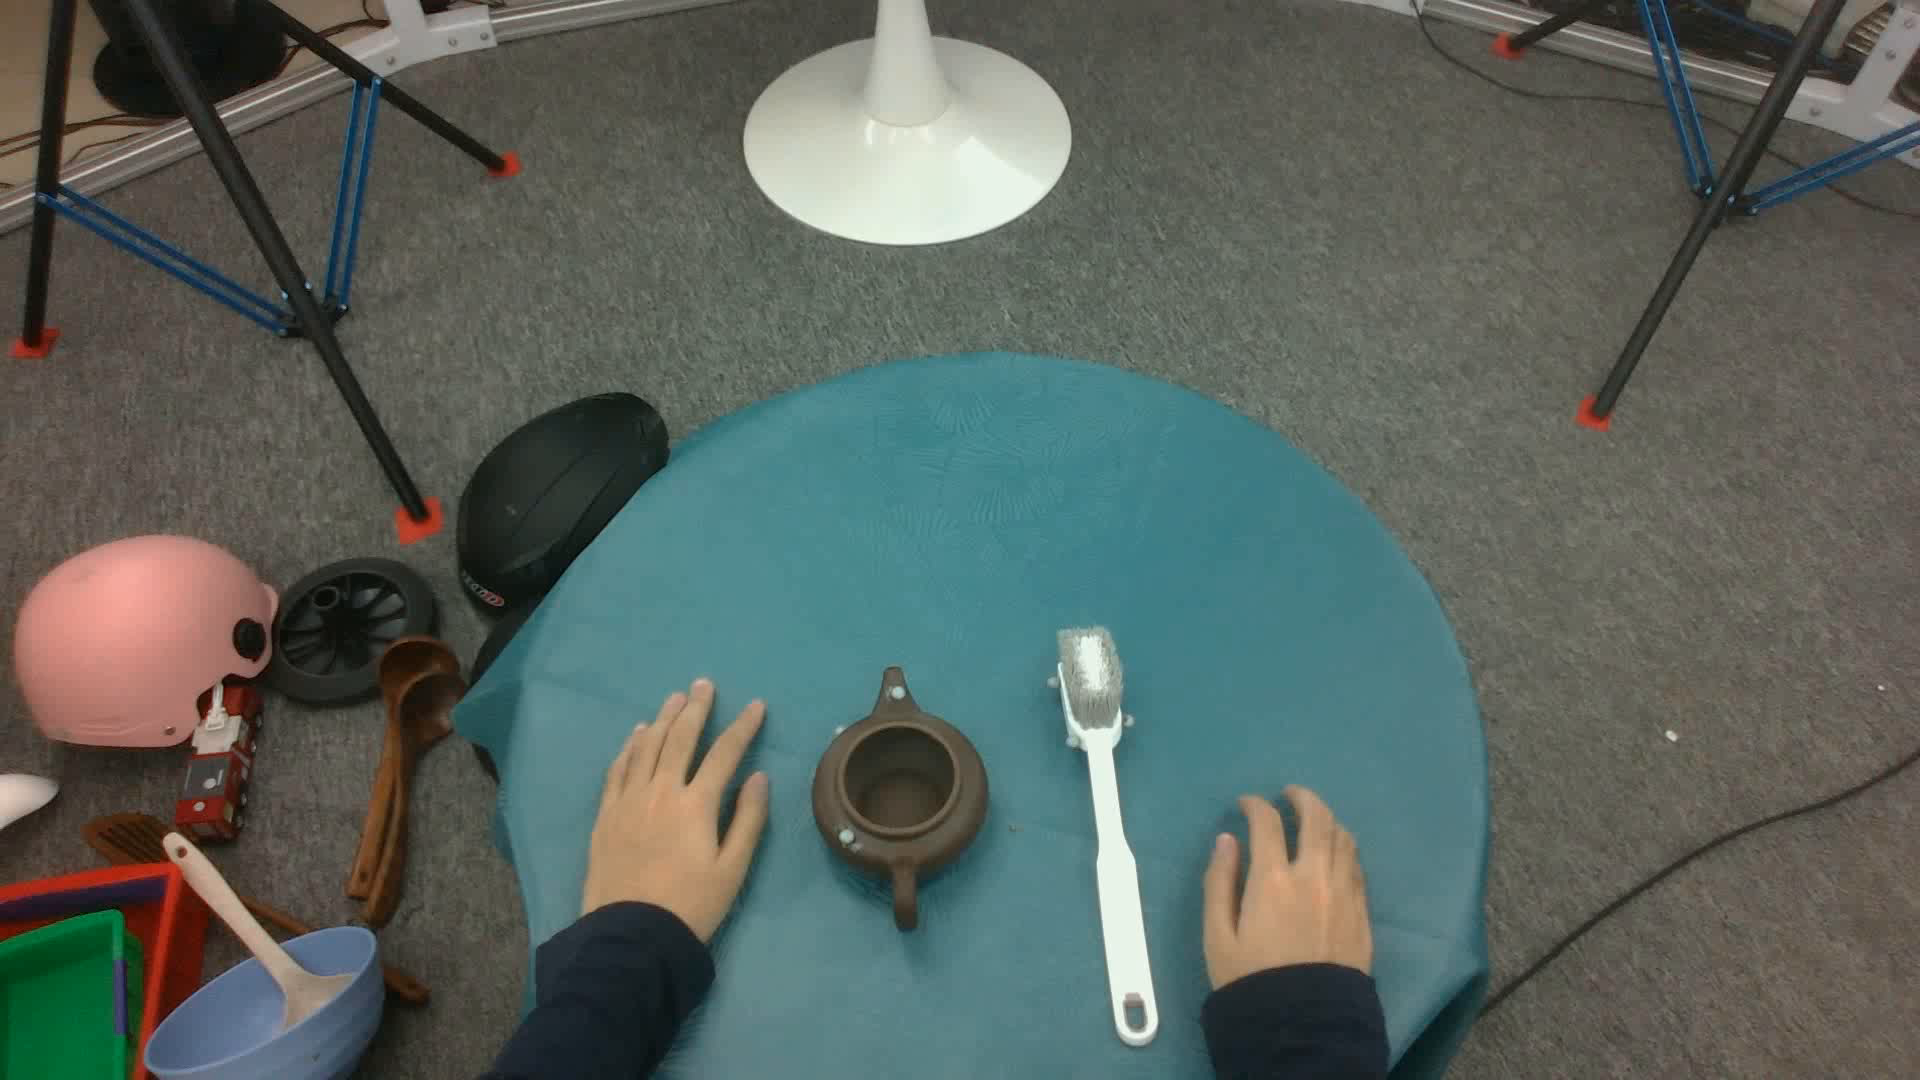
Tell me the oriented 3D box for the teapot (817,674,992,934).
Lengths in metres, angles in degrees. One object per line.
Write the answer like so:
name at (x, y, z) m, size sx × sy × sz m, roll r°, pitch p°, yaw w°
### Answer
teapot at (-0.031, 0.154, 0.802) m, size 0.102 × 0.053 × 0.154 m, roll -9°, pitch 53°, yaw -6°

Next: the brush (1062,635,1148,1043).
brush at (0.086, 0.162, 0.797) m, size 0.034 × 0.050 × 0.244 m, roll 0°, pitch 53°, yaw -3°
